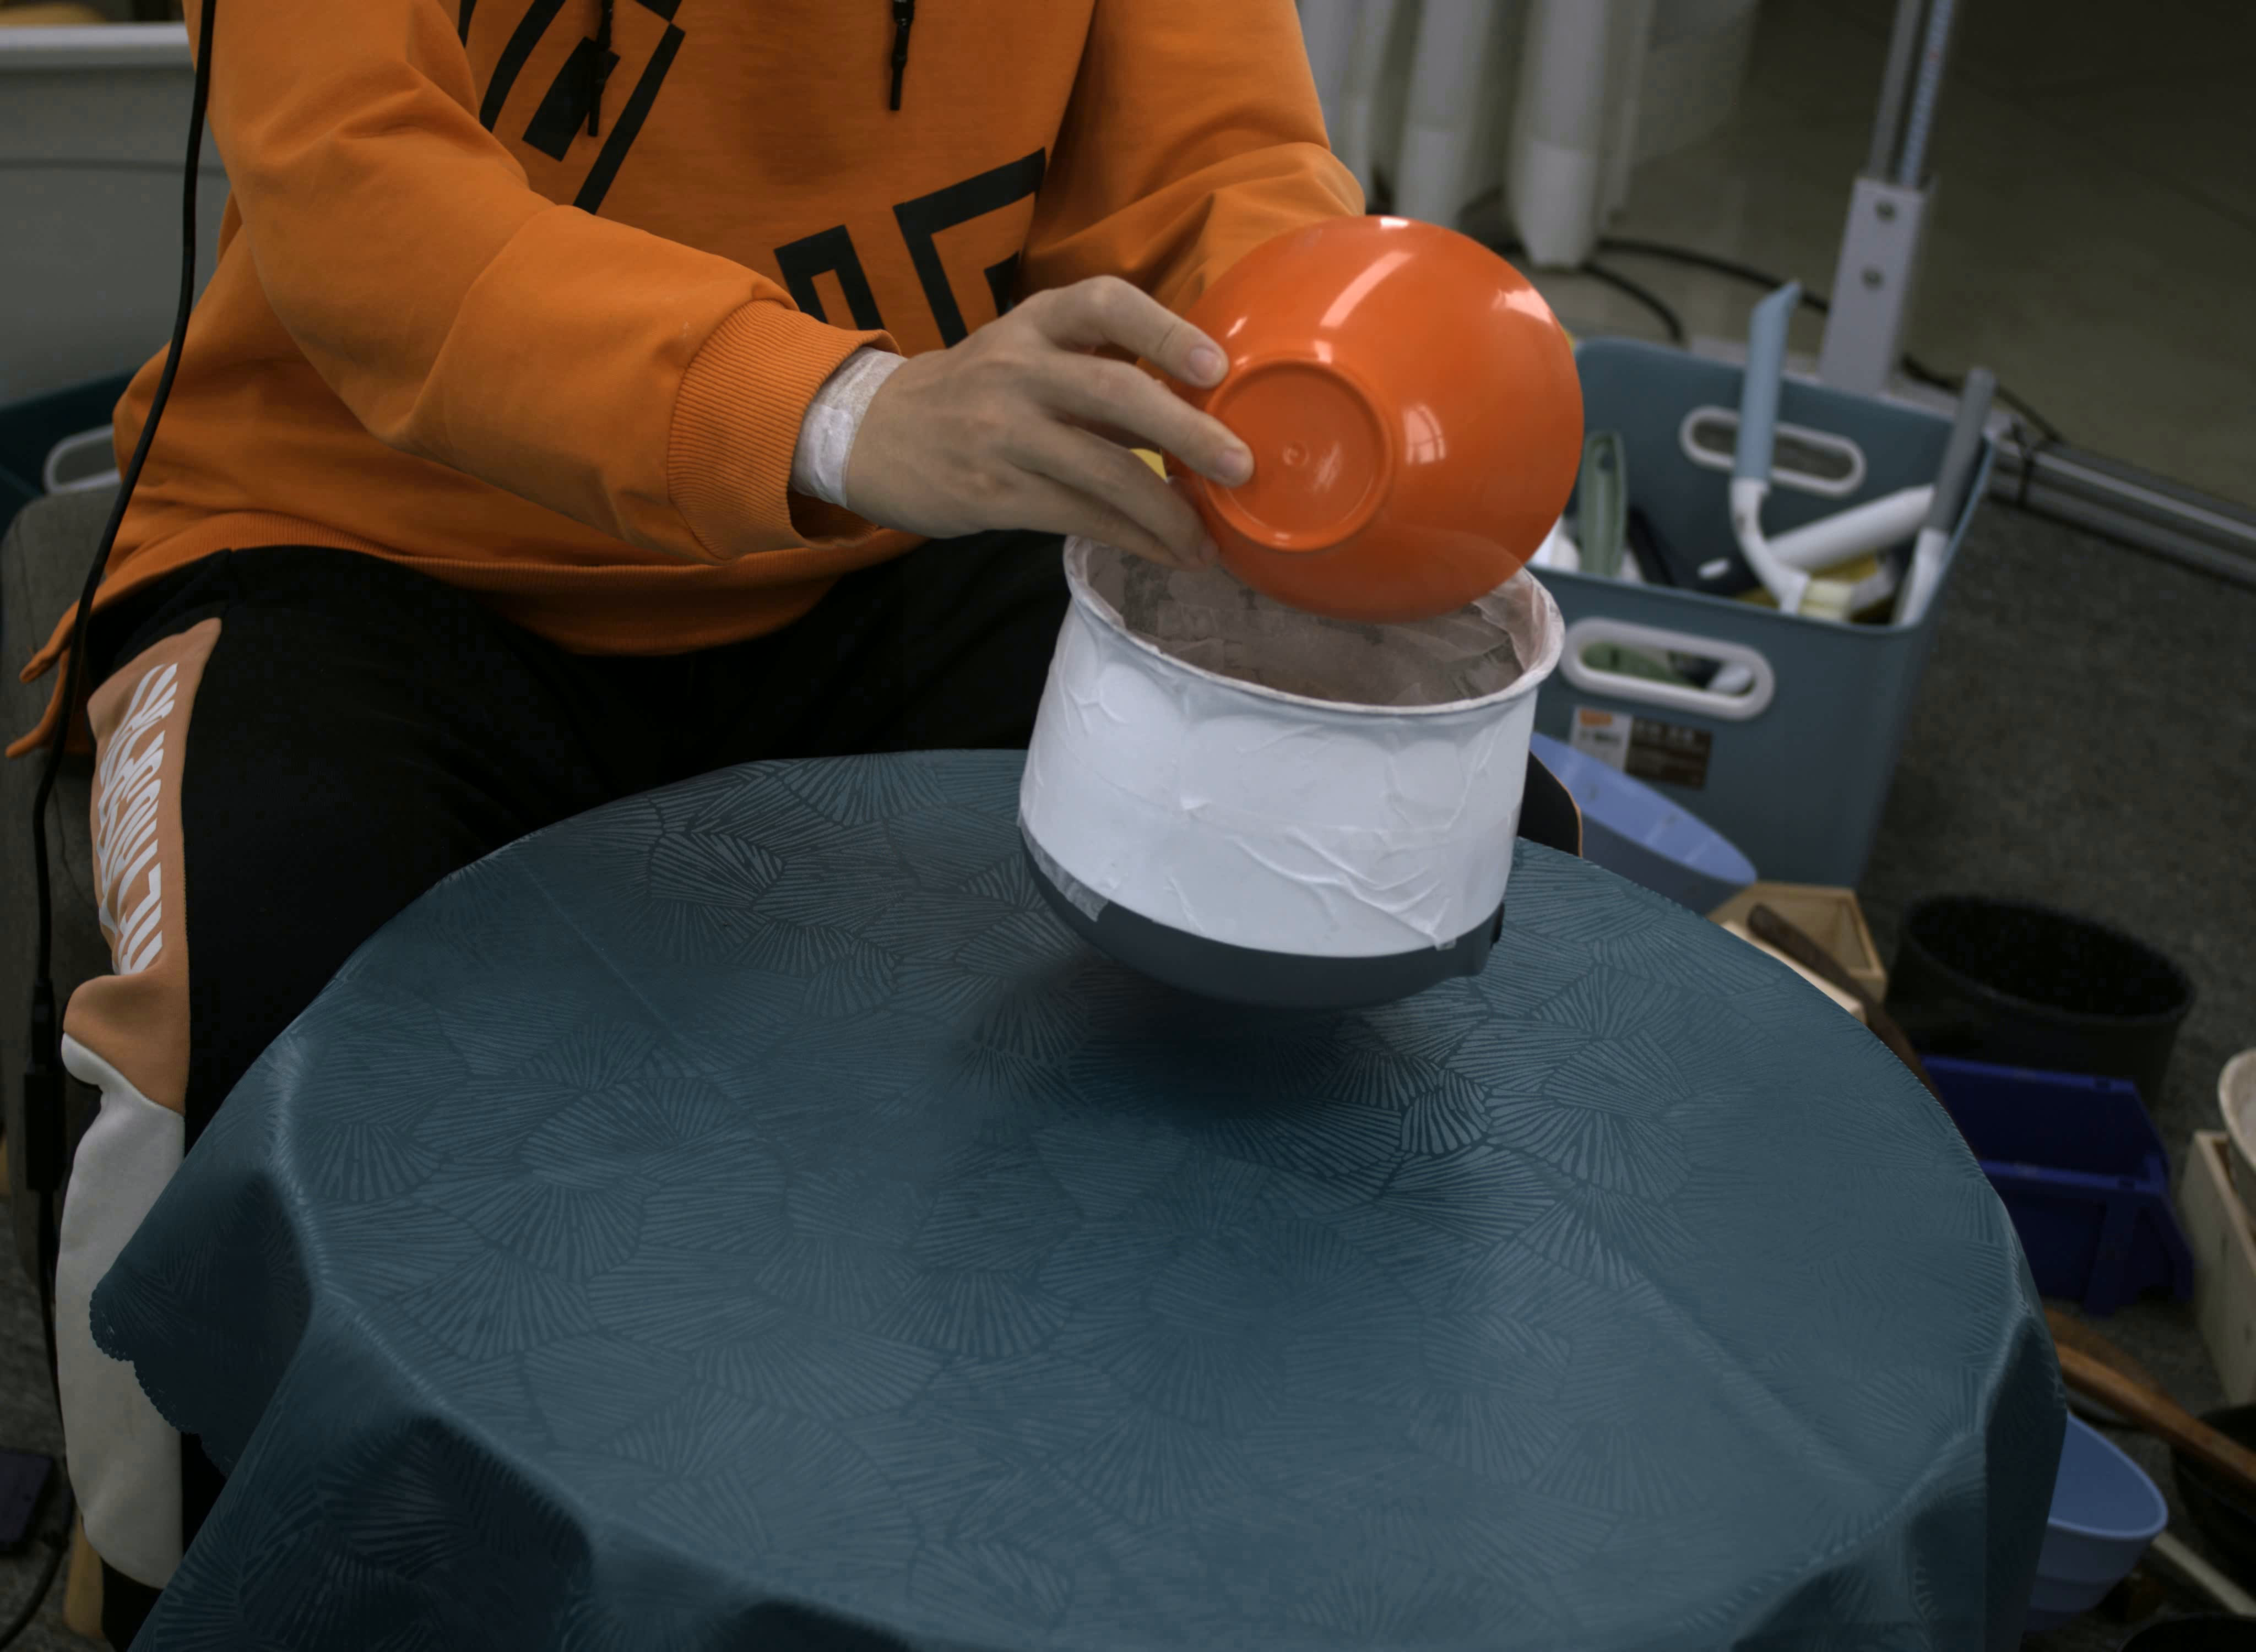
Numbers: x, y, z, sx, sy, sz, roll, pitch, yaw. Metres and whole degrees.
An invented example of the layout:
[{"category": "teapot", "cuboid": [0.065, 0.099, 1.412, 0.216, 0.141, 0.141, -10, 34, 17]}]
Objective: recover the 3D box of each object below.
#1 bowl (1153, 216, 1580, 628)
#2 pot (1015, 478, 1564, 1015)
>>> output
[{"category": "bowl", "cuboid": [0.075, -0.130, 1.817, 0.148, 0.148, 0.104, 12, 16, 10]}, {"category": "pot", "cuboid": [0.056, -0.040, 1.893, 0.178, 0.136, 0.235, 12, 28, 1]}]
